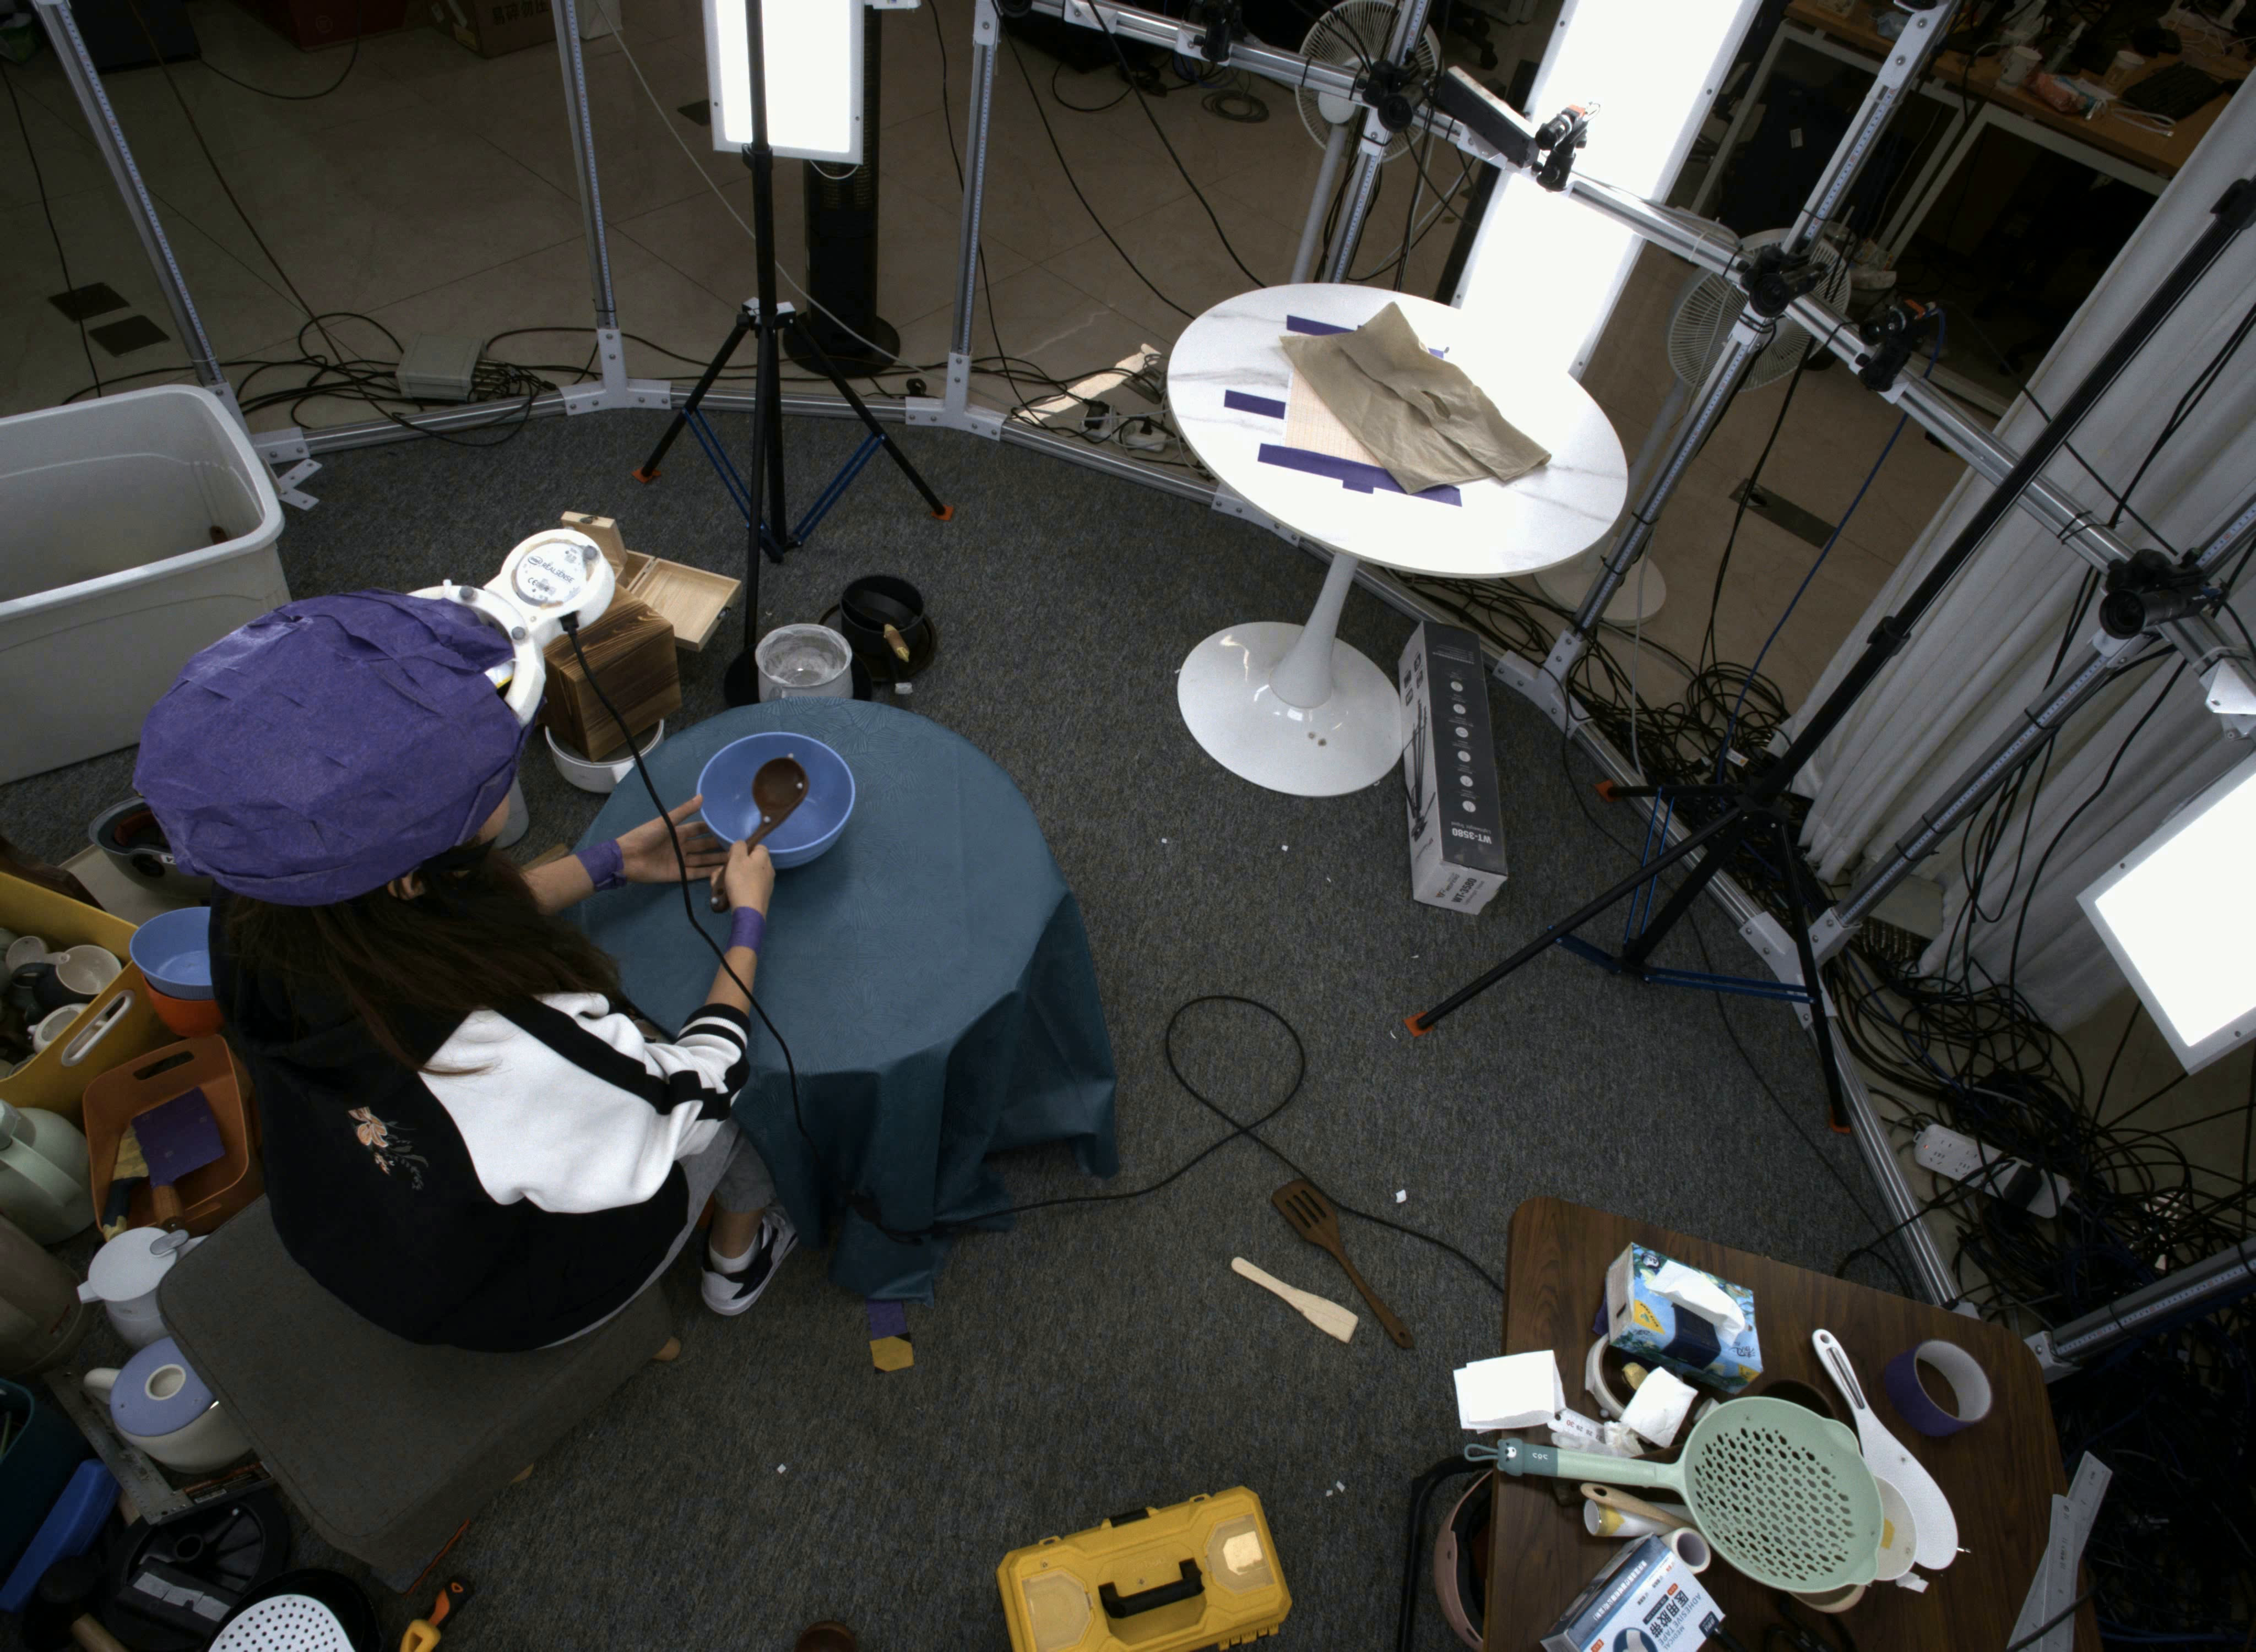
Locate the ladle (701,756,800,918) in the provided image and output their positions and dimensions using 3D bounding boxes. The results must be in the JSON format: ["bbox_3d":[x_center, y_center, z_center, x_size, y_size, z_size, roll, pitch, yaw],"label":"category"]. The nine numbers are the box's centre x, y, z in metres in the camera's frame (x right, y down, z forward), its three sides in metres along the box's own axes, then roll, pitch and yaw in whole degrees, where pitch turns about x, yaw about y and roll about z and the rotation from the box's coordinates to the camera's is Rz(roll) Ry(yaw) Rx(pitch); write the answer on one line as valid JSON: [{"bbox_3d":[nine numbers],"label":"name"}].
[{"bbox_3d":[-0.464,0.006,1.552,0.075,0.067,0.256,-9,32,17],"label":"ladle"}]

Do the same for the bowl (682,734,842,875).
[{"bbox_3d":[-0.469,-0.013,1.656,0.197,0.097,0.193,12,51,-13],"label":"bowl"}]
